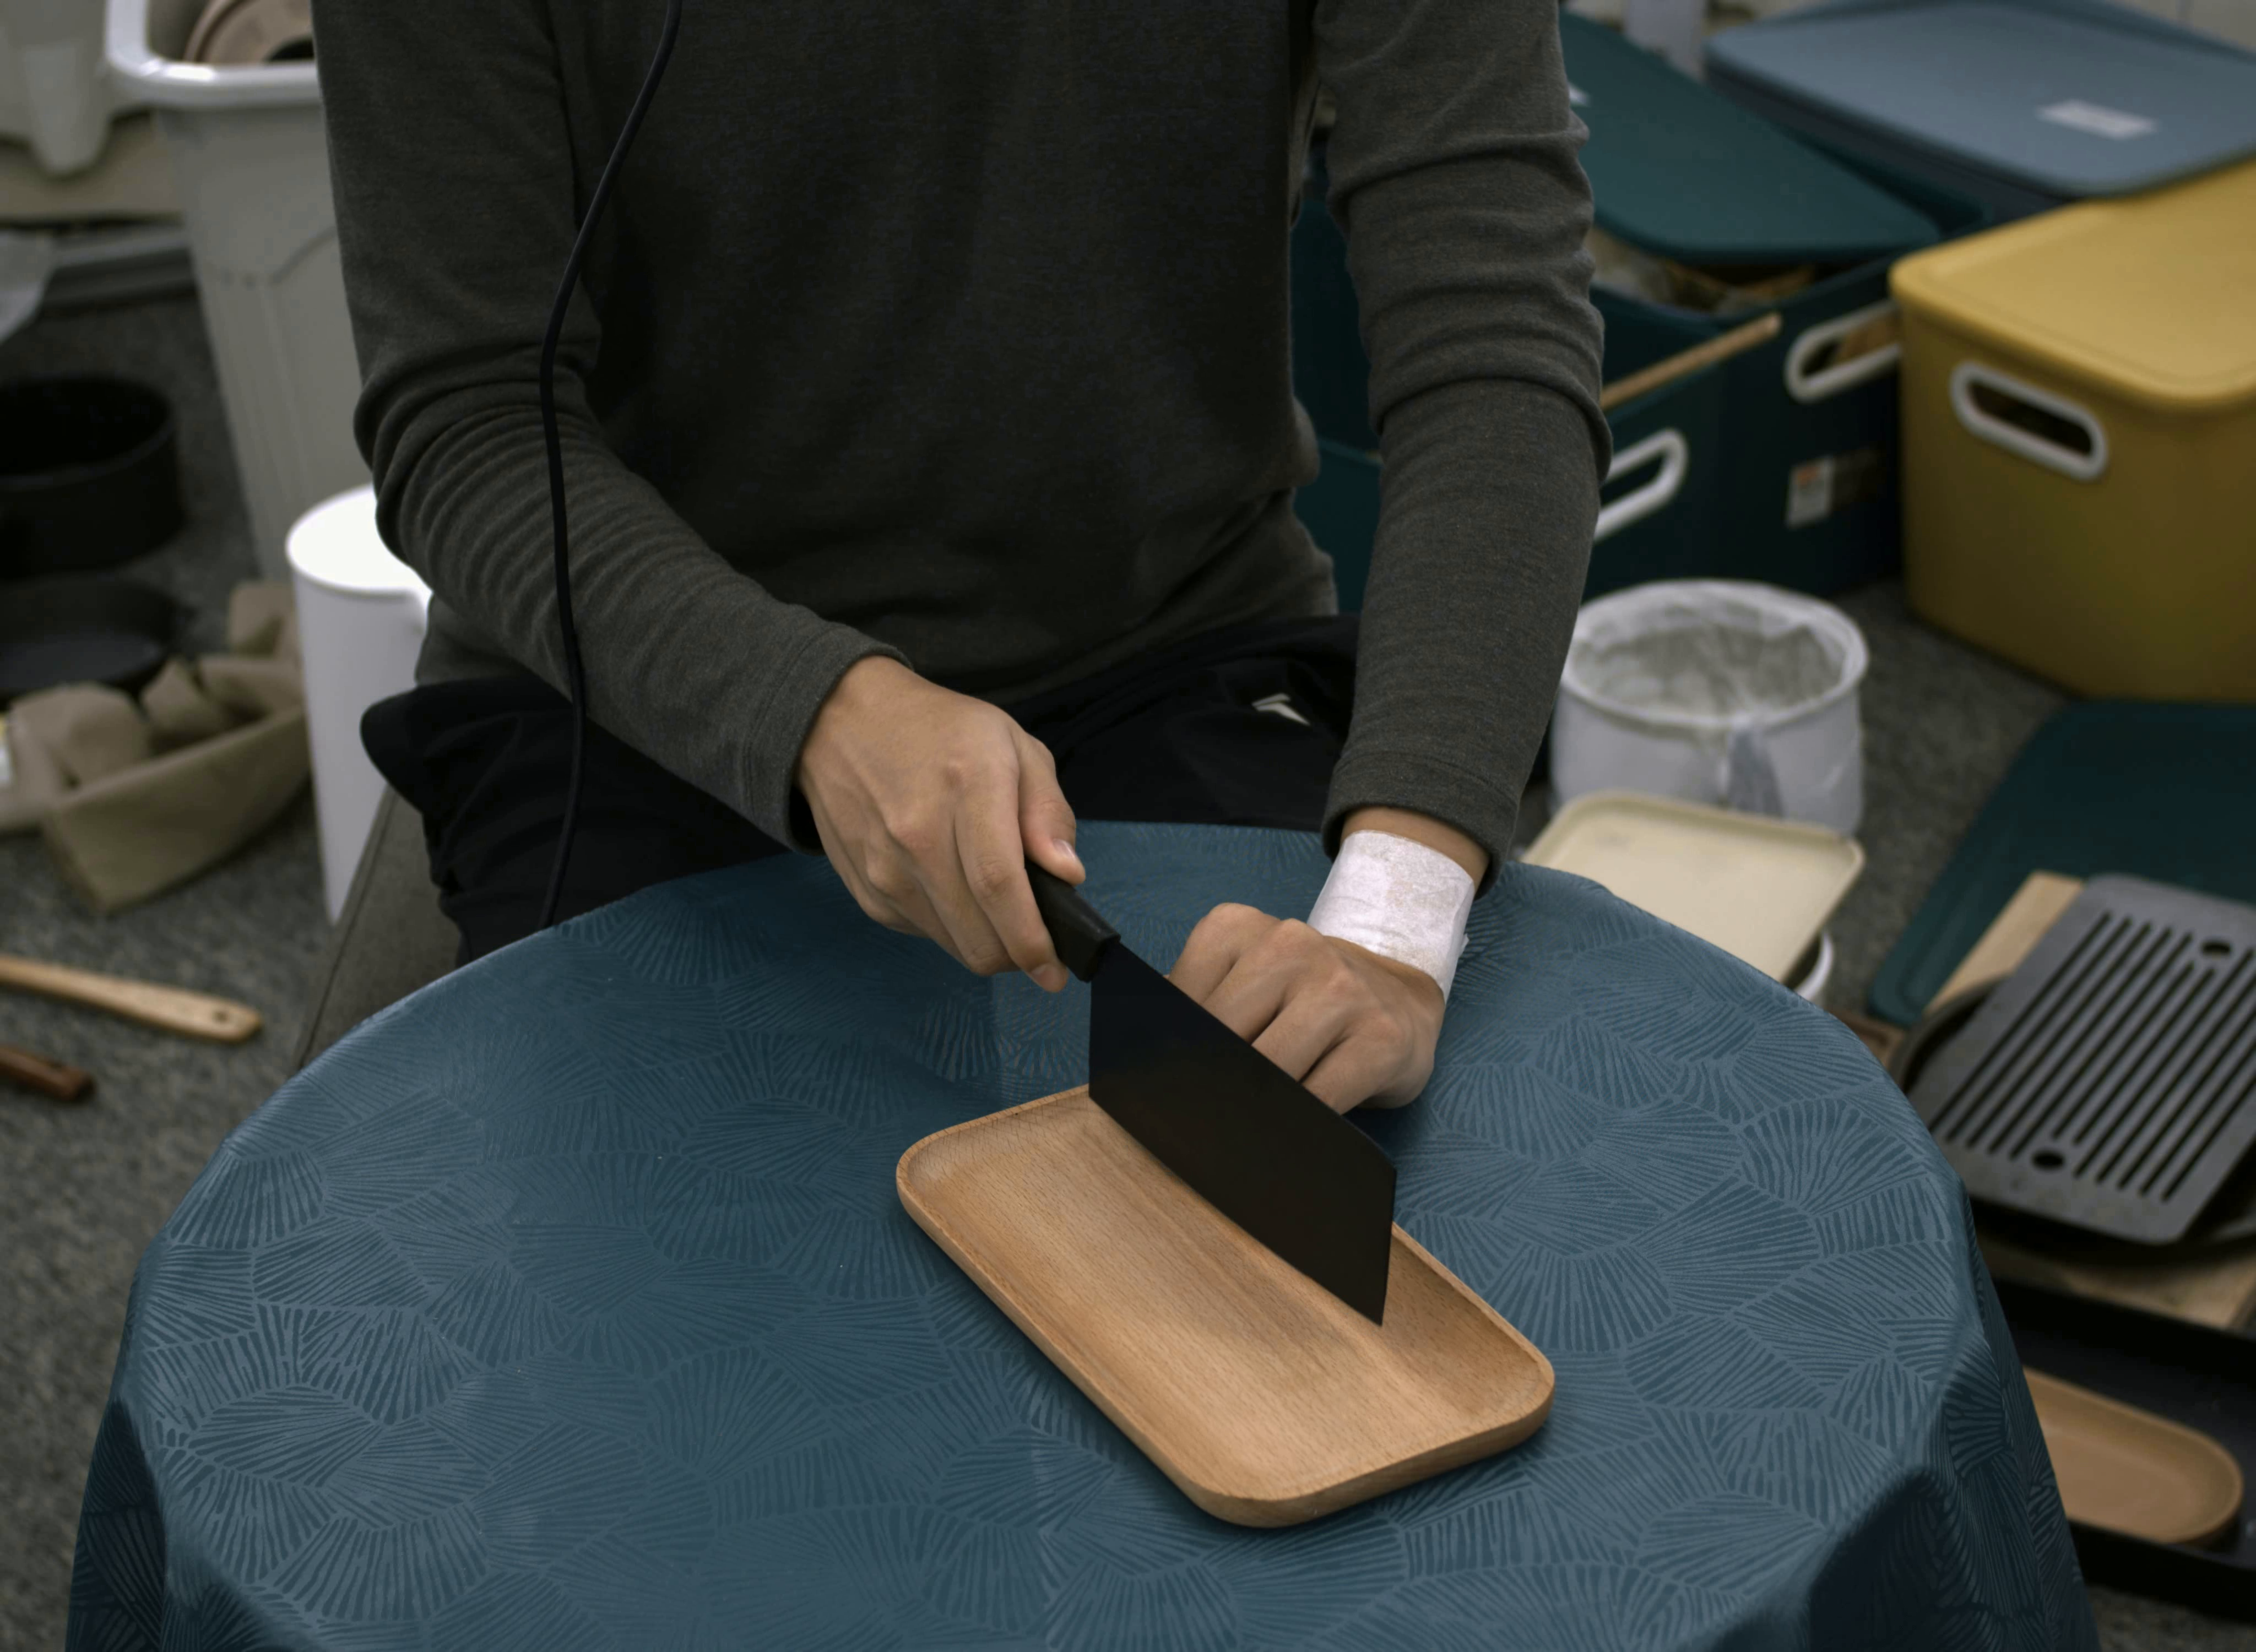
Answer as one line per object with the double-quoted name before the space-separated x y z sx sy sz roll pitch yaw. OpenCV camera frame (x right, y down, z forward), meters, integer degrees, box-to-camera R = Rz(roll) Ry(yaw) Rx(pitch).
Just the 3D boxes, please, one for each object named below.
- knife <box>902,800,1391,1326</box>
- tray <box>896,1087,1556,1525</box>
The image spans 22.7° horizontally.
"knife" 0.004 0.070 1.849 0.021 0.080 0.304 -10 32 -29
"tray" 0.027 0.147 1.793 0.131 0.022 0.252 -13 28 -24
